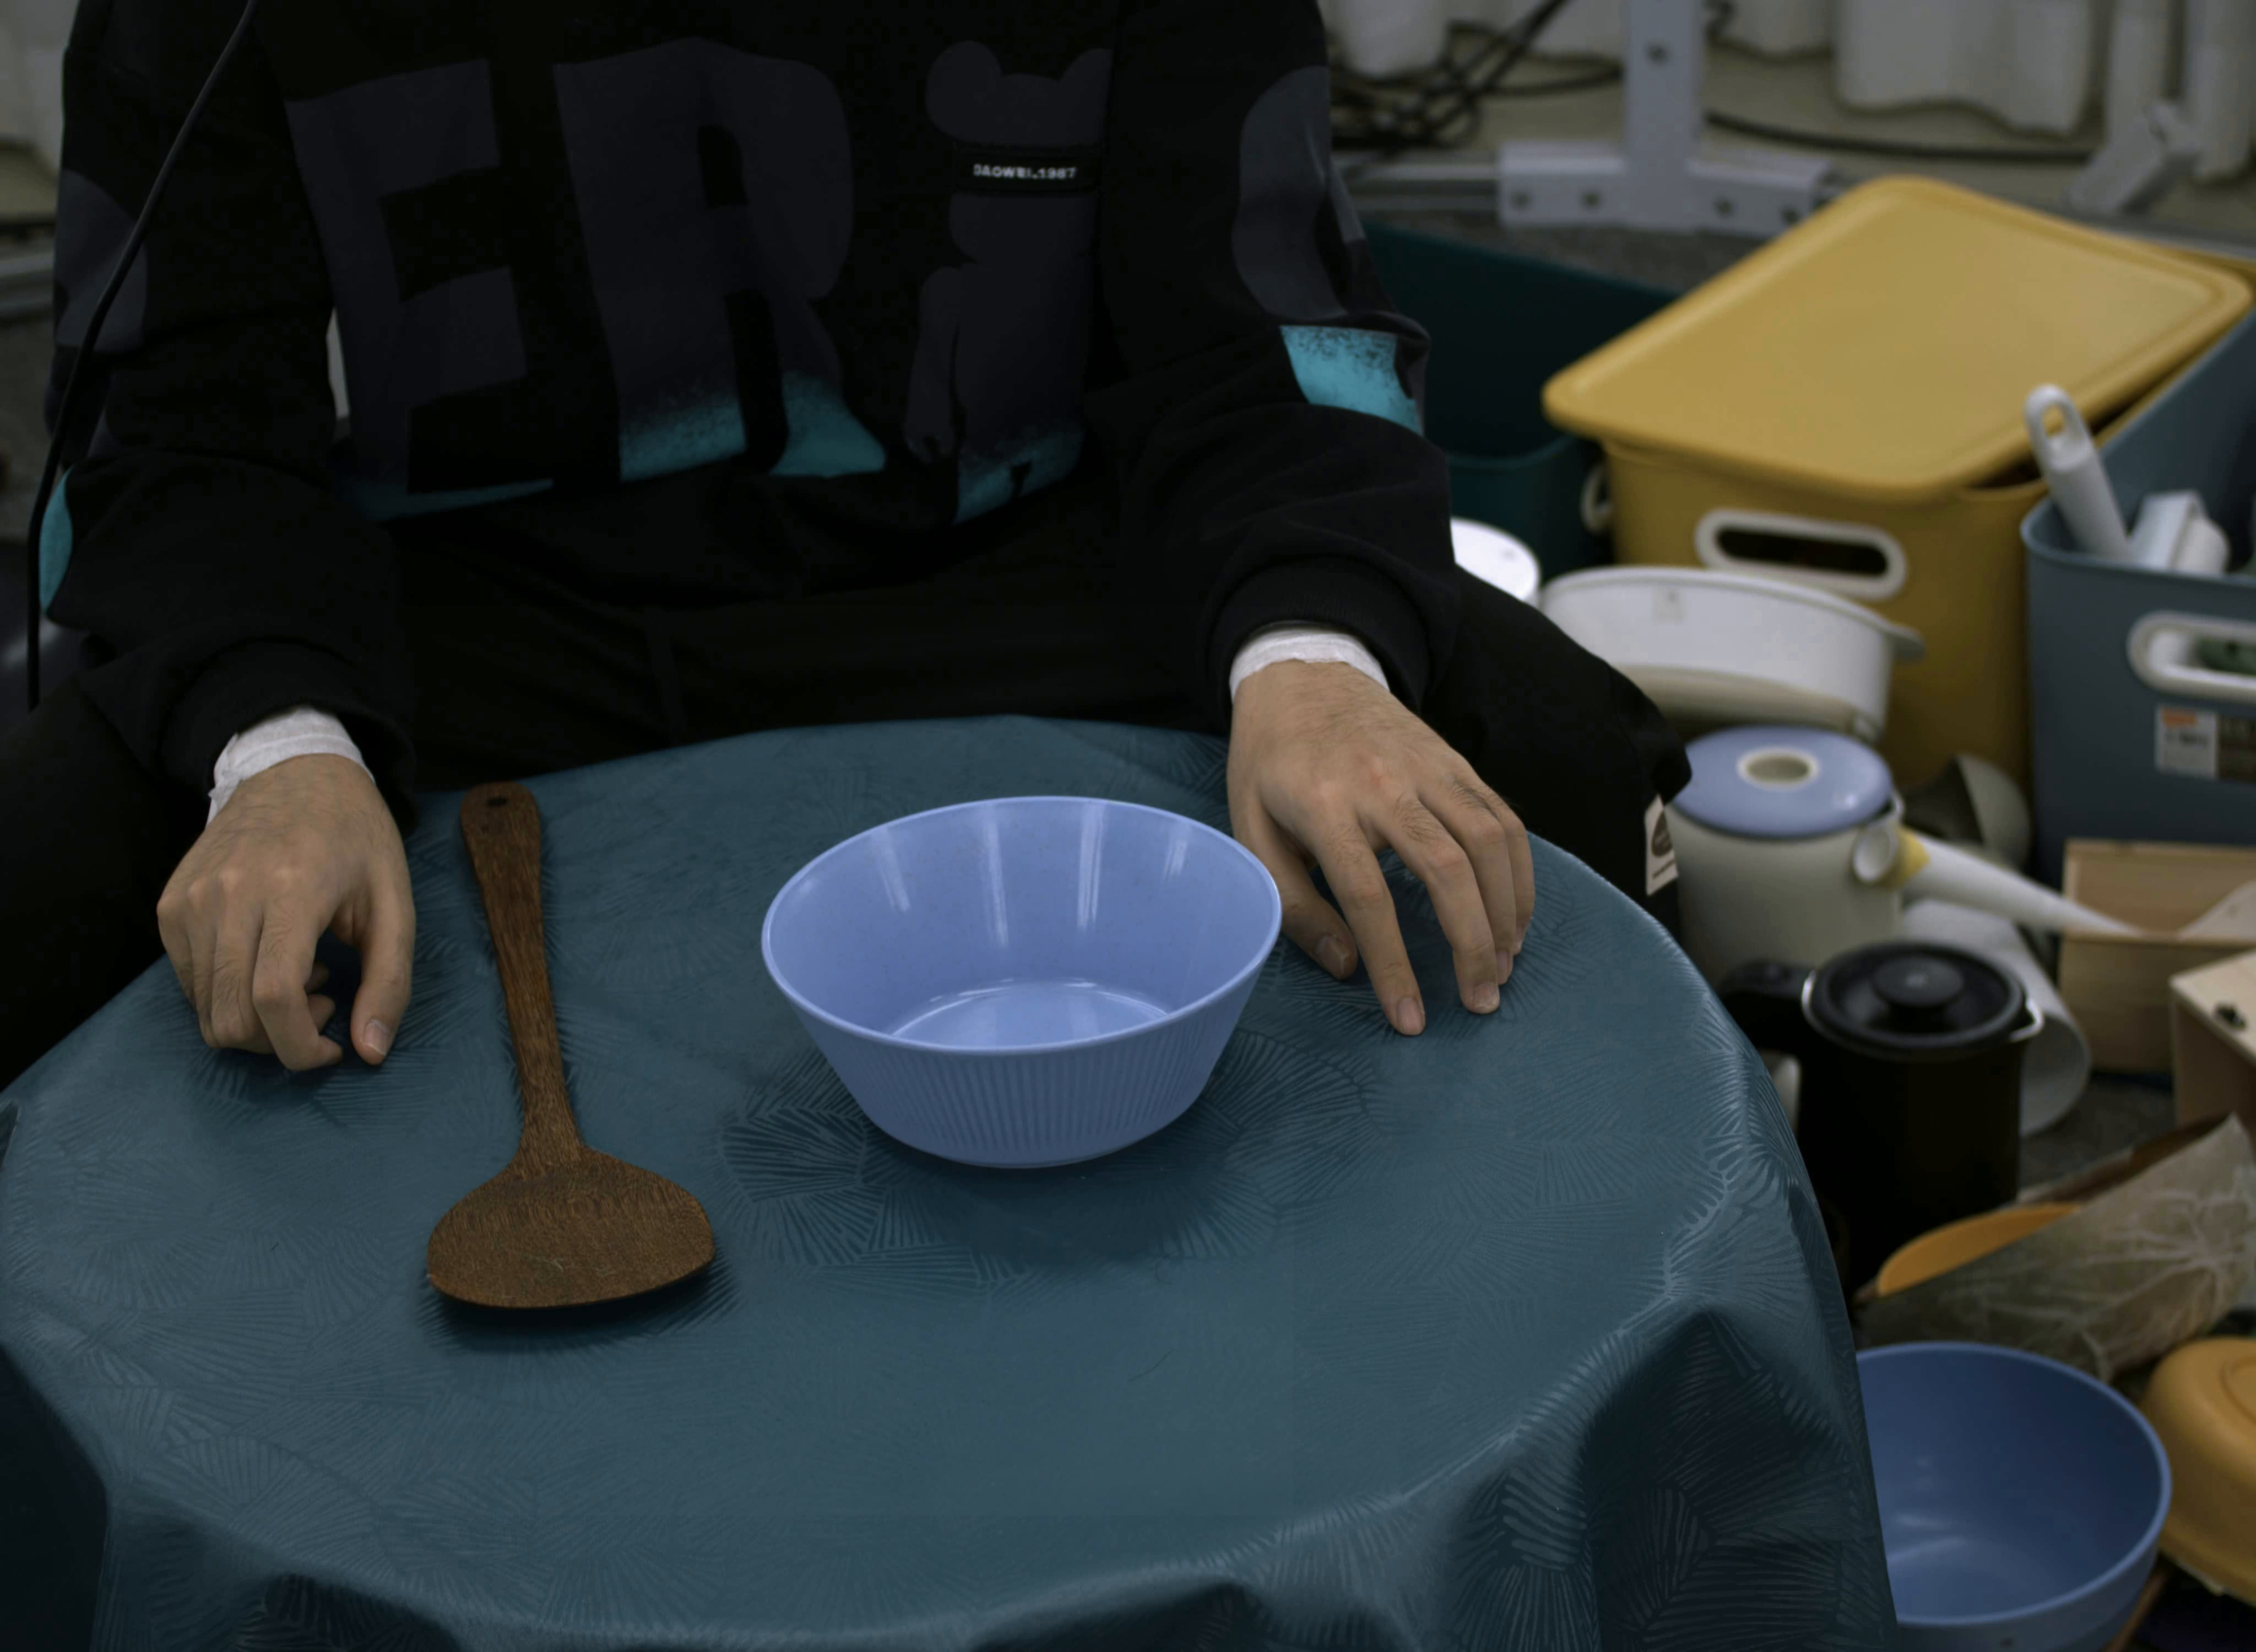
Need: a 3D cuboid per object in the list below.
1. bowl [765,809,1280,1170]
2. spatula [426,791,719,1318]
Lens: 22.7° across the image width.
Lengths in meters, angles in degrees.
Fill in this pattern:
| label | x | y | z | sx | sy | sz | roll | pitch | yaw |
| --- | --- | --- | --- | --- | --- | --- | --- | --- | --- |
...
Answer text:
| label | x | y | z | sx | sy | sz | roll | pitch | yaw |
| --- | --- | --- | --- | --- | --- | --- | --- | --- | --- |
| bowl | -0.034 | 0.061 | 1.907 | 0.175 | 0.069 | 0.178 | -2 | 26 | 1 |
| spatula | -0.208 | 0.072 | 1.964 | 0.096 | 0.015 | 0.390 | -7 | 27 | -8 |
